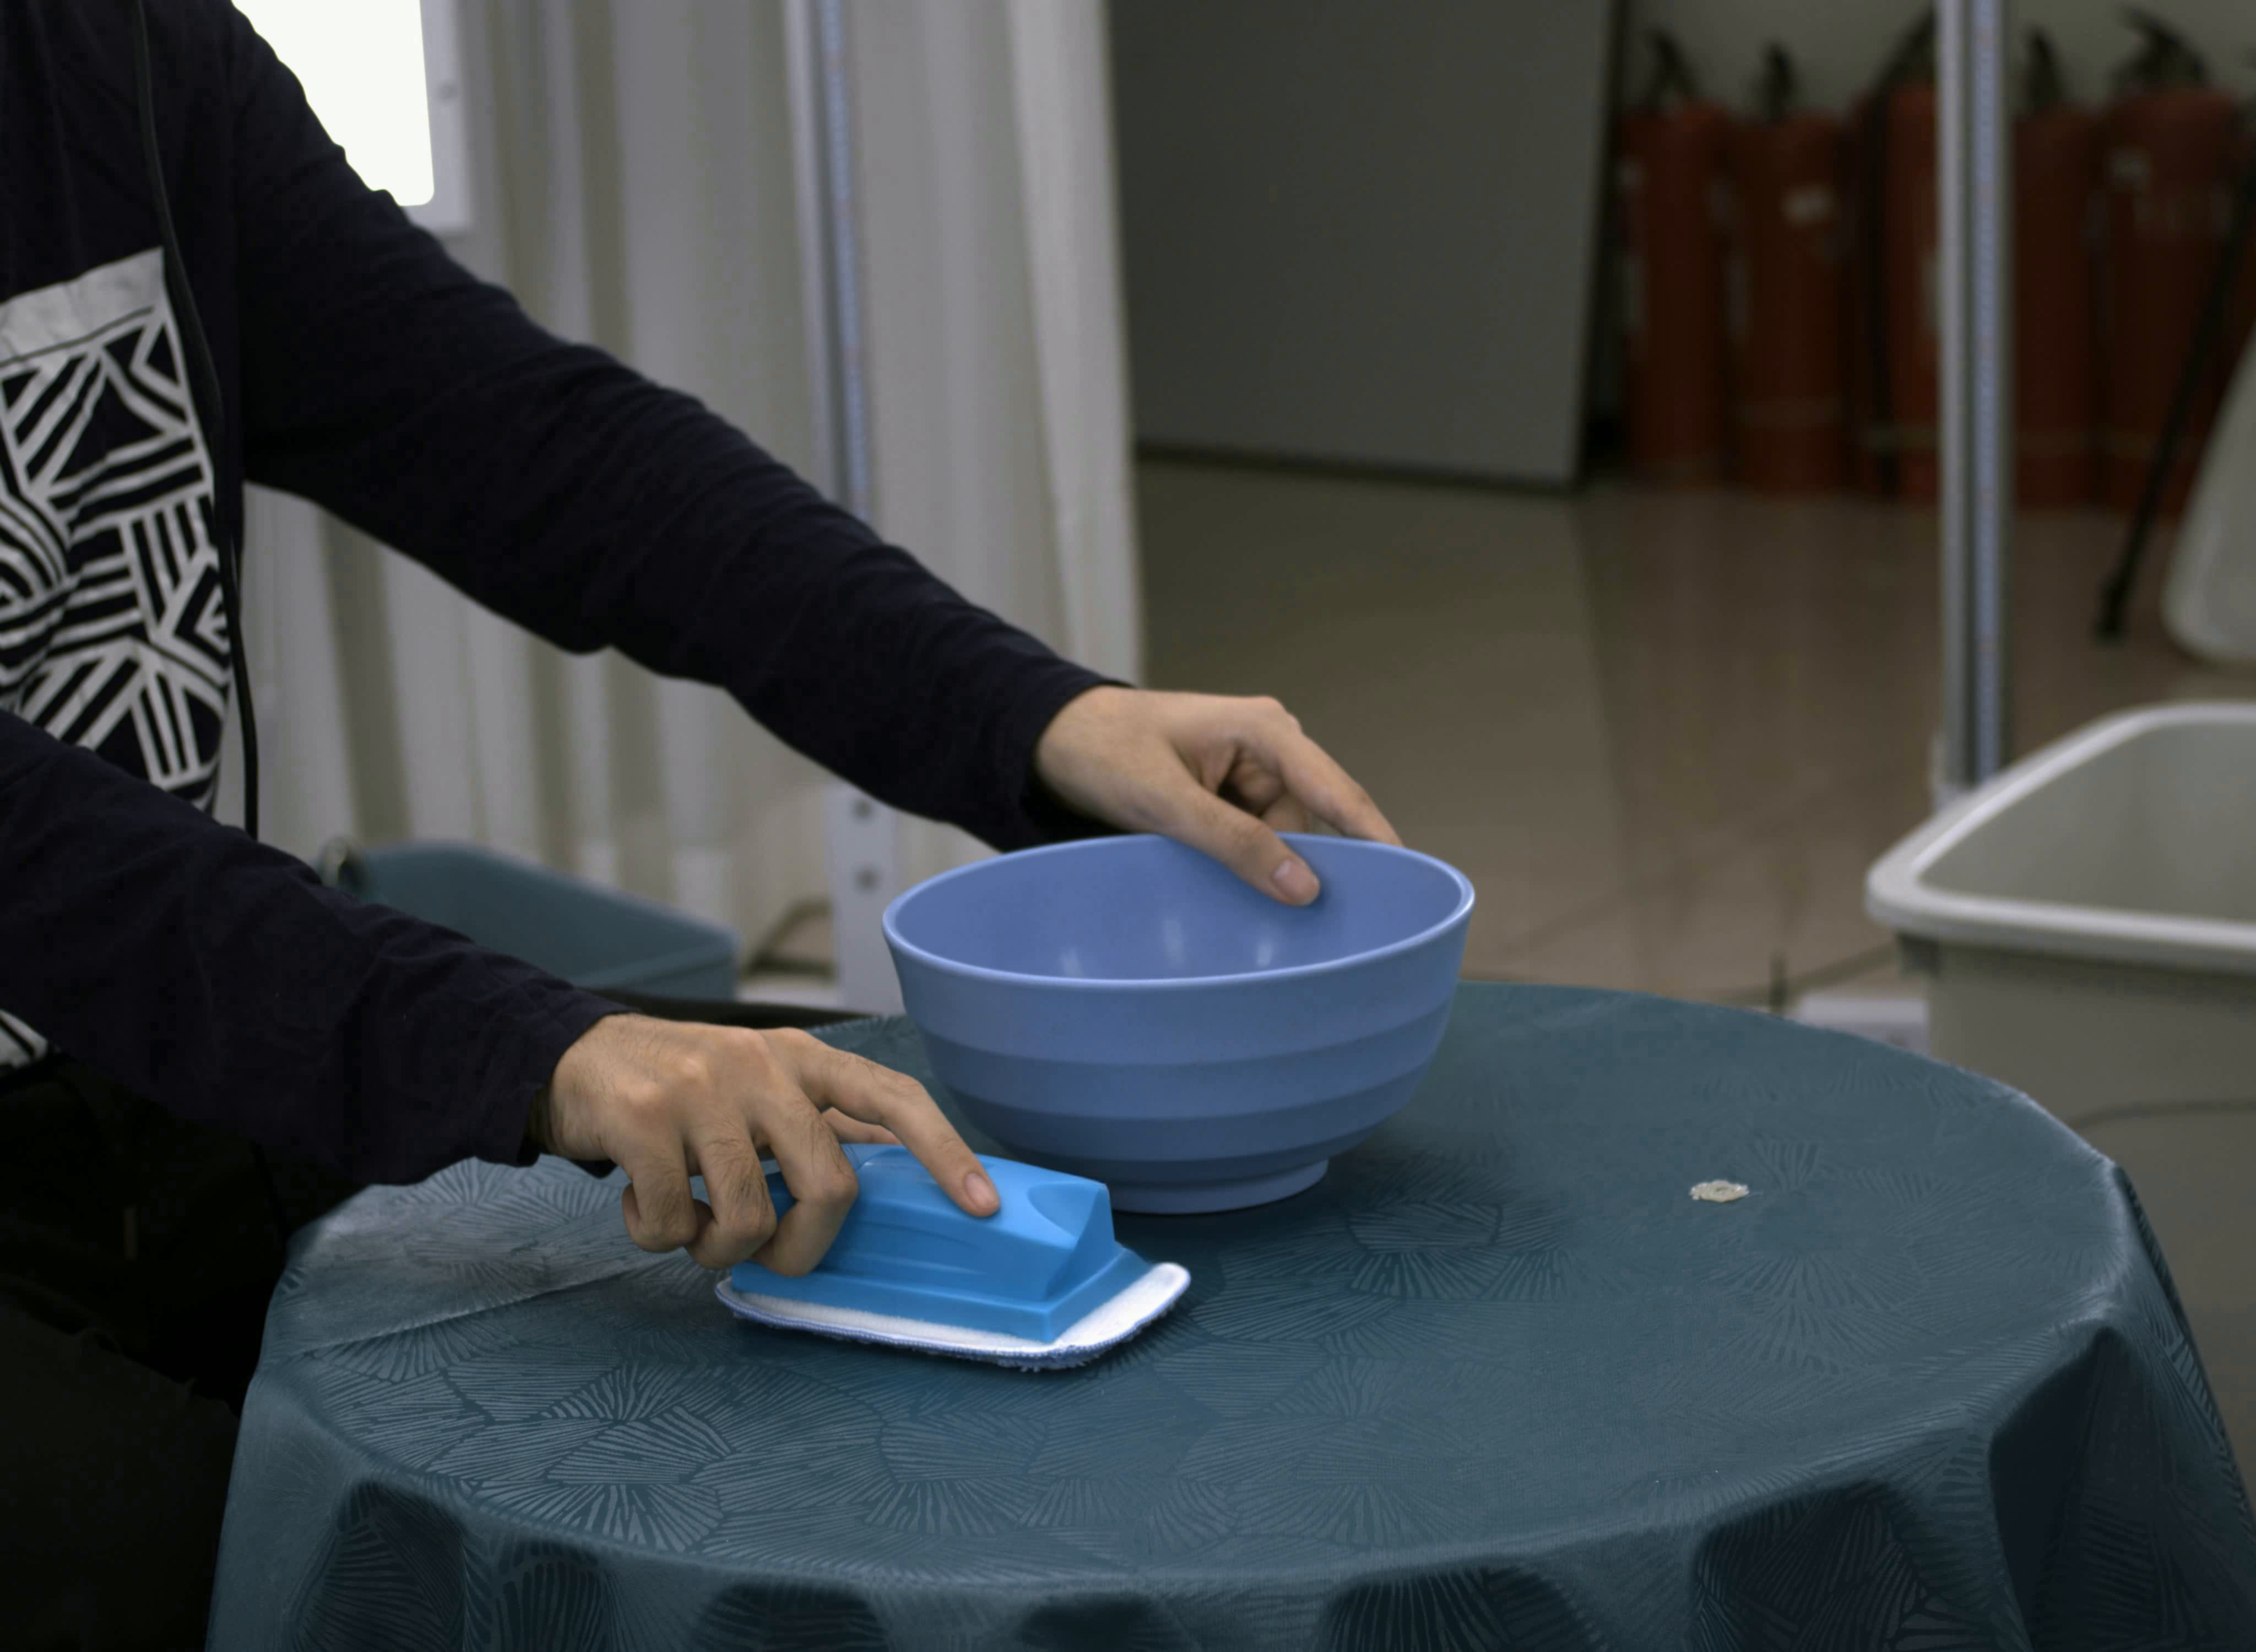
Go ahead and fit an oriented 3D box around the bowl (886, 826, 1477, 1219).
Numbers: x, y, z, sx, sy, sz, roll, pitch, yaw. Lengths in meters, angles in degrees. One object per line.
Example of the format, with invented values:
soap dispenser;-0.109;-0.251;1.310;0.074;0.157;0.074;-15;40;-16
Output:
bowl;0.019;0.070;1.778;0.194;0.096;0.197;-2;14;0

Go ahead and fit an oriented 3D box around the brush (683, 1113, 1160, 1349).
brush;-0.064;0.122;1.656;0.145;0.056;0.082;9;20;34
